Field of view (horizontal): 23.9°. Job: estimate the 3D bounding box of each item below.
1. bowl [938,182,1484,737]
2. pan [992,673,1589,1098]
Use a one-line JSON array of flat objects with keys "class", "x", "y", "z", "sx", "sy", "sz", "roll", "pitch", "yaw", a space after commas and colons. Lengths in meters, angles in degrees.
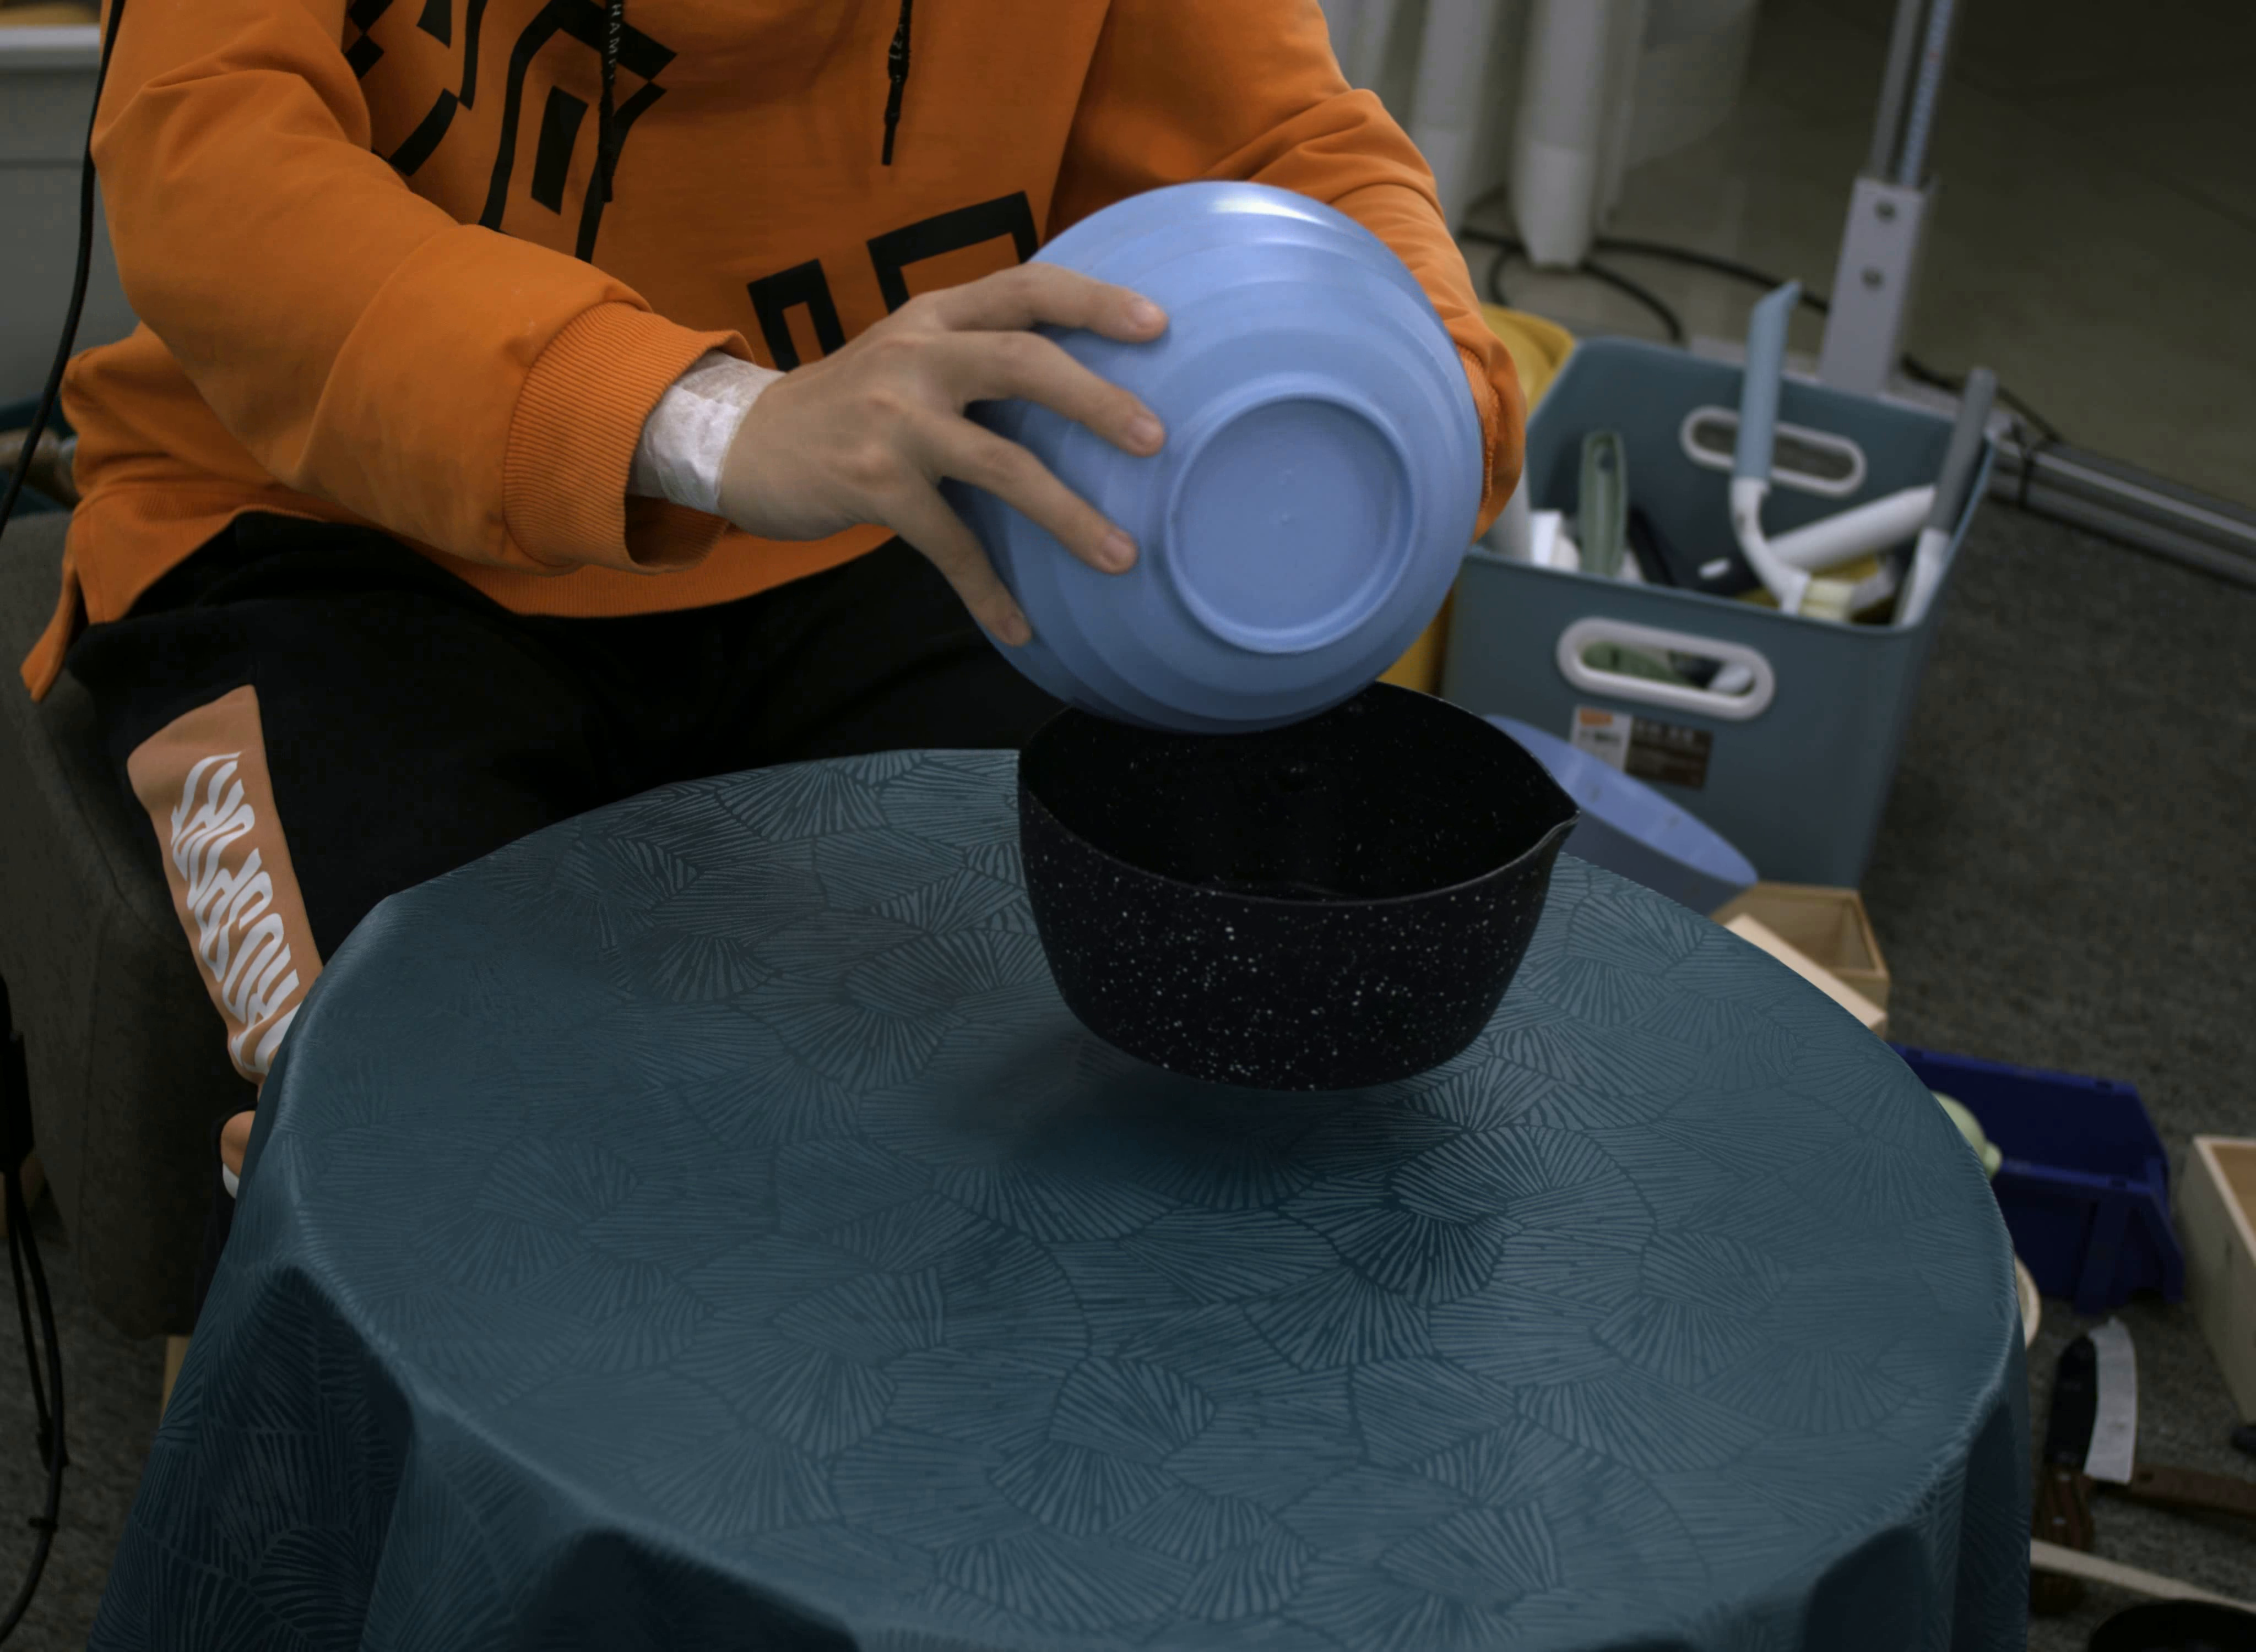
[{"class": "bowl", "x": 0.041, "y": -0.115, "z": 1.819, "sx": 0.195, "sy": 0.196, "sz": 0.096, "roll": -3, "pitch": 17, "yaw": -19}, {"class": "pan", "x": 0.058, "y": -0.024, "z": 1.912, "sx": 0.207, "sy": 0.108, "sz": 0.344, "roll": 4, "pitch": 27, "yaw": 2}]
